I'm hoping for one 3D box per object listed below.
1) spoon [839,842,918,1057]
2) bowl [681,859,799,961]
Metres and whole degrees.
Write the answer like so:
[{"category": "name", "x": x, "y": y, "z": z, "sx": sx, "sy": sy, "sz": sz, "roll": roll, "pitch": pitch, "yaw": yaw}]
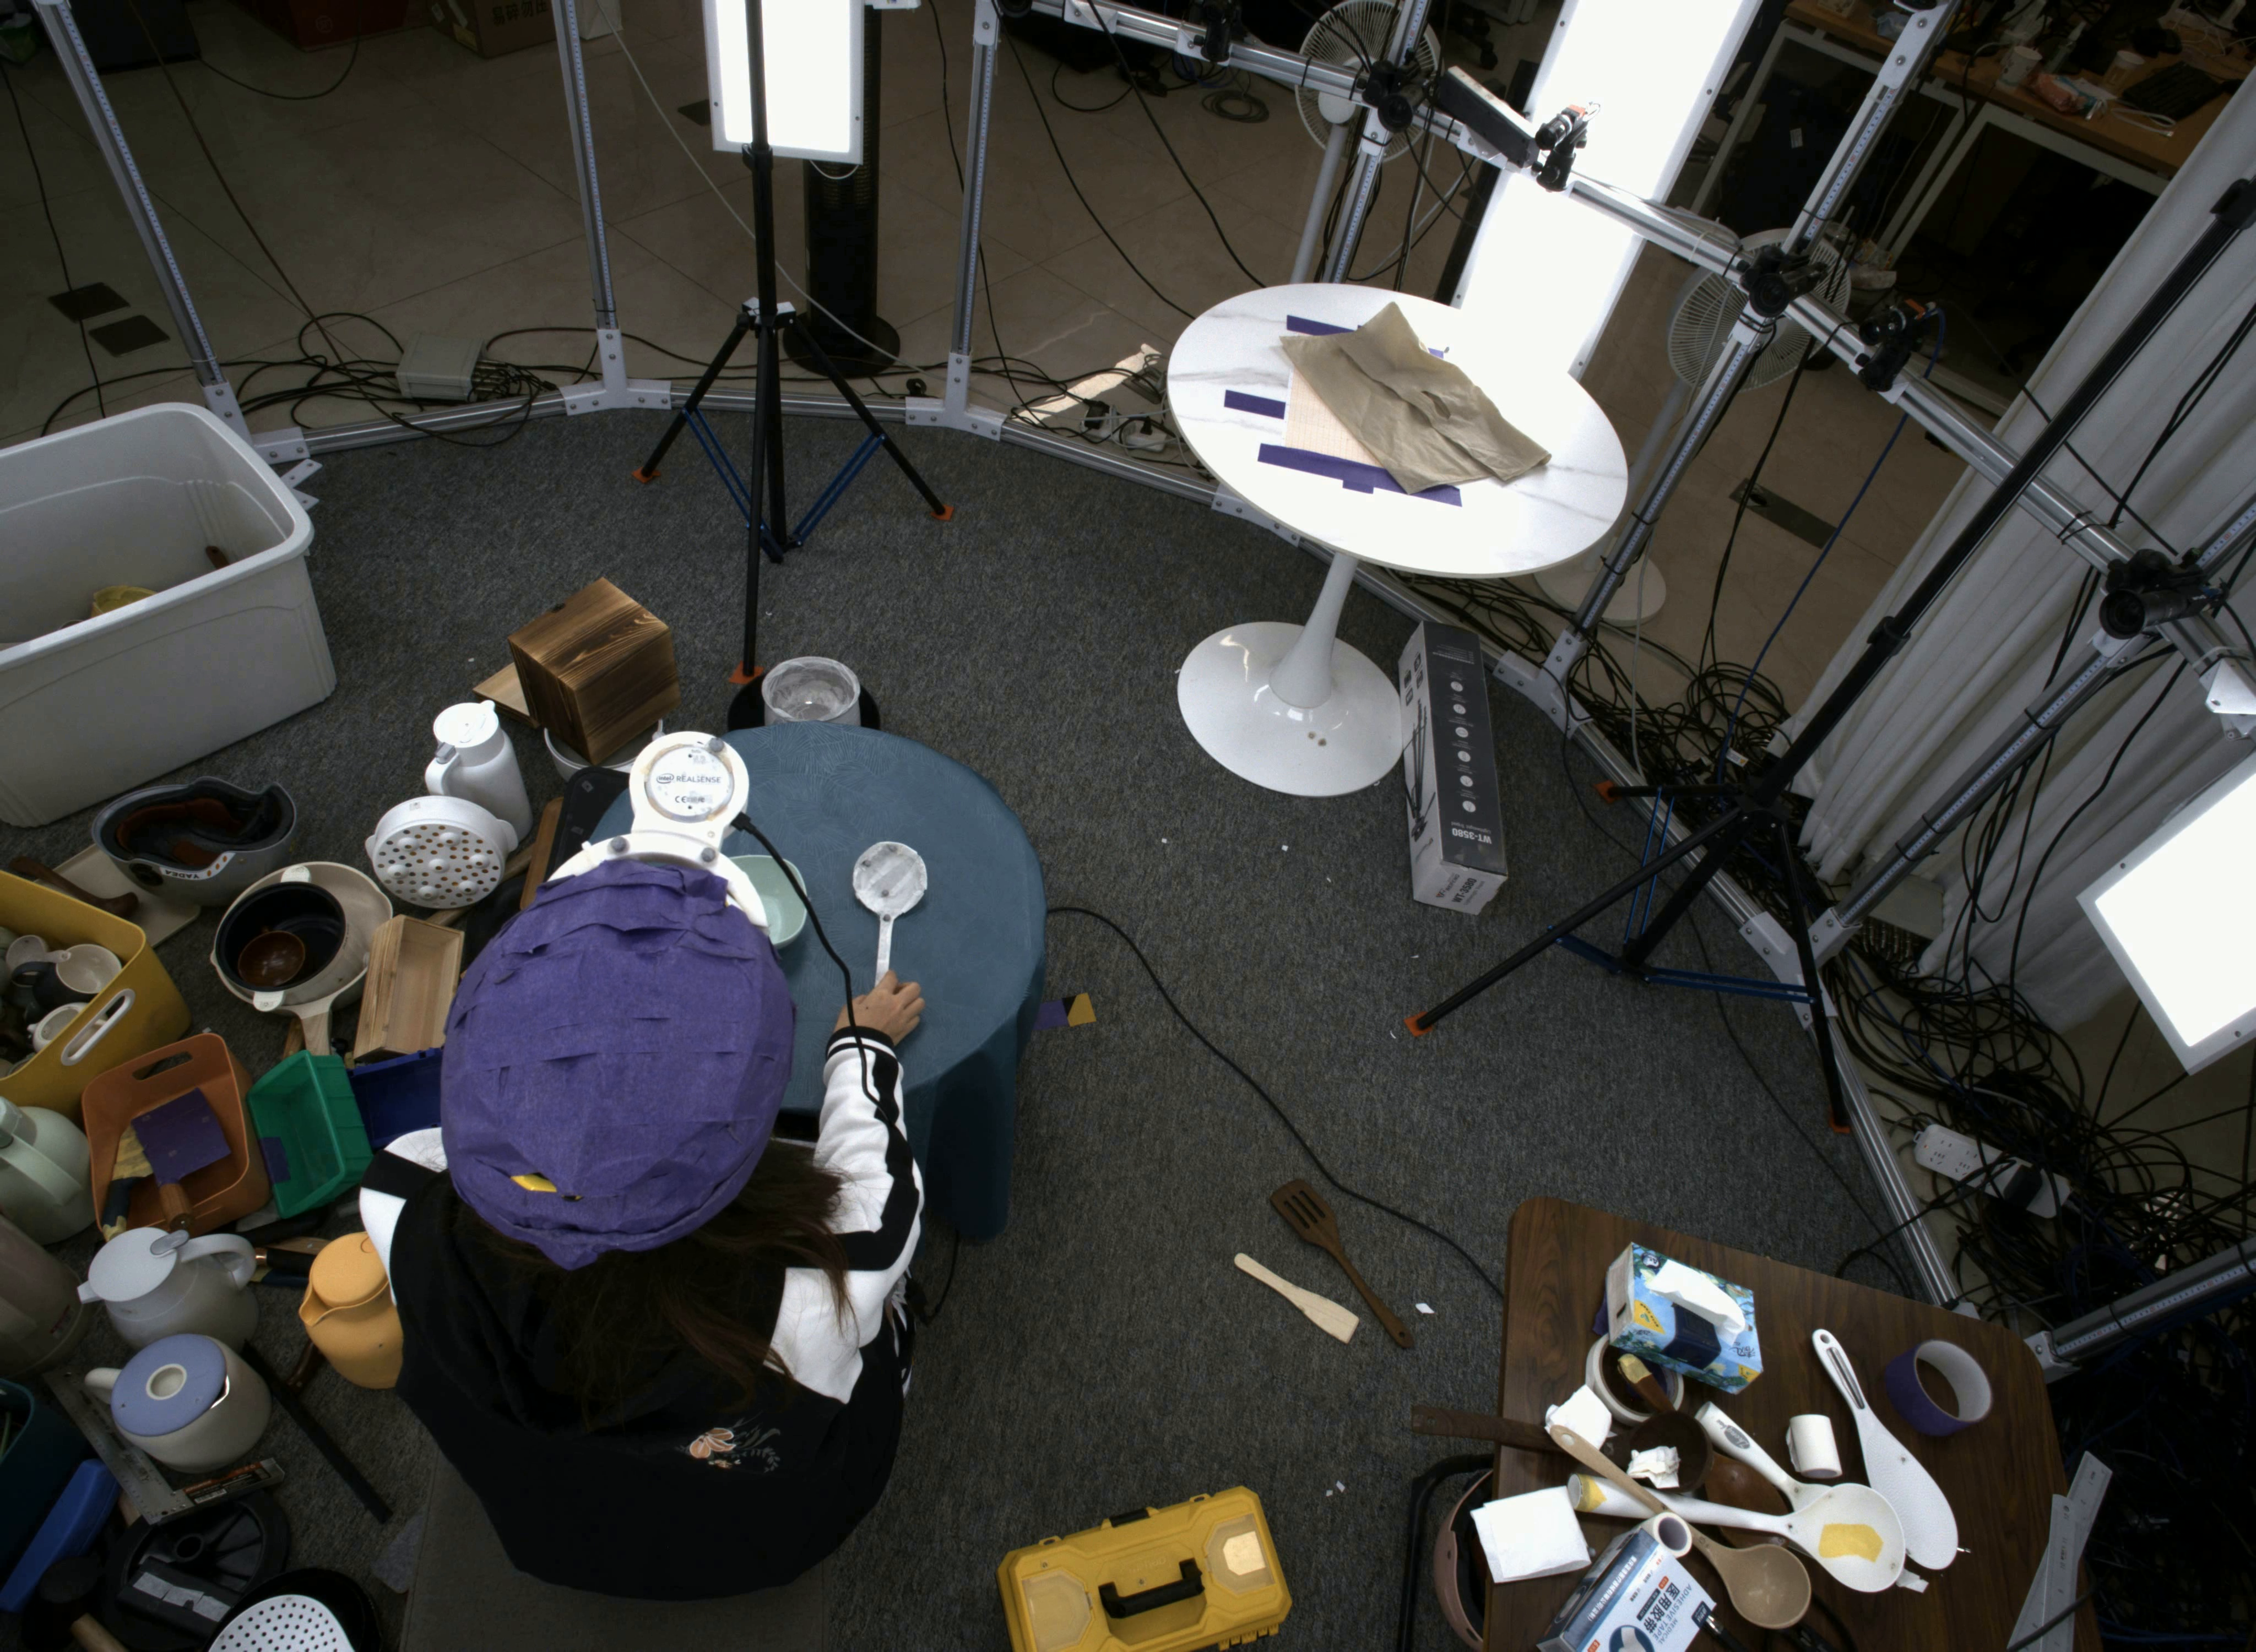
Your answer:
[{"category": "spoon", "x": -0.319, "y": 0.145, "z": 1.601, "sx": 0.100, "sy": 0.061, "sz": 0.272, "roll": 4, "pitch": 53, "yaw": -5}, {"category": "bowl", "x": -0.475, "y": 0.111, "z": 1.587, "sx": 0.151, "sy": 0.060, "sz": 0.149, "roll": 8, "pitch": 52, "yaw": -9}]
